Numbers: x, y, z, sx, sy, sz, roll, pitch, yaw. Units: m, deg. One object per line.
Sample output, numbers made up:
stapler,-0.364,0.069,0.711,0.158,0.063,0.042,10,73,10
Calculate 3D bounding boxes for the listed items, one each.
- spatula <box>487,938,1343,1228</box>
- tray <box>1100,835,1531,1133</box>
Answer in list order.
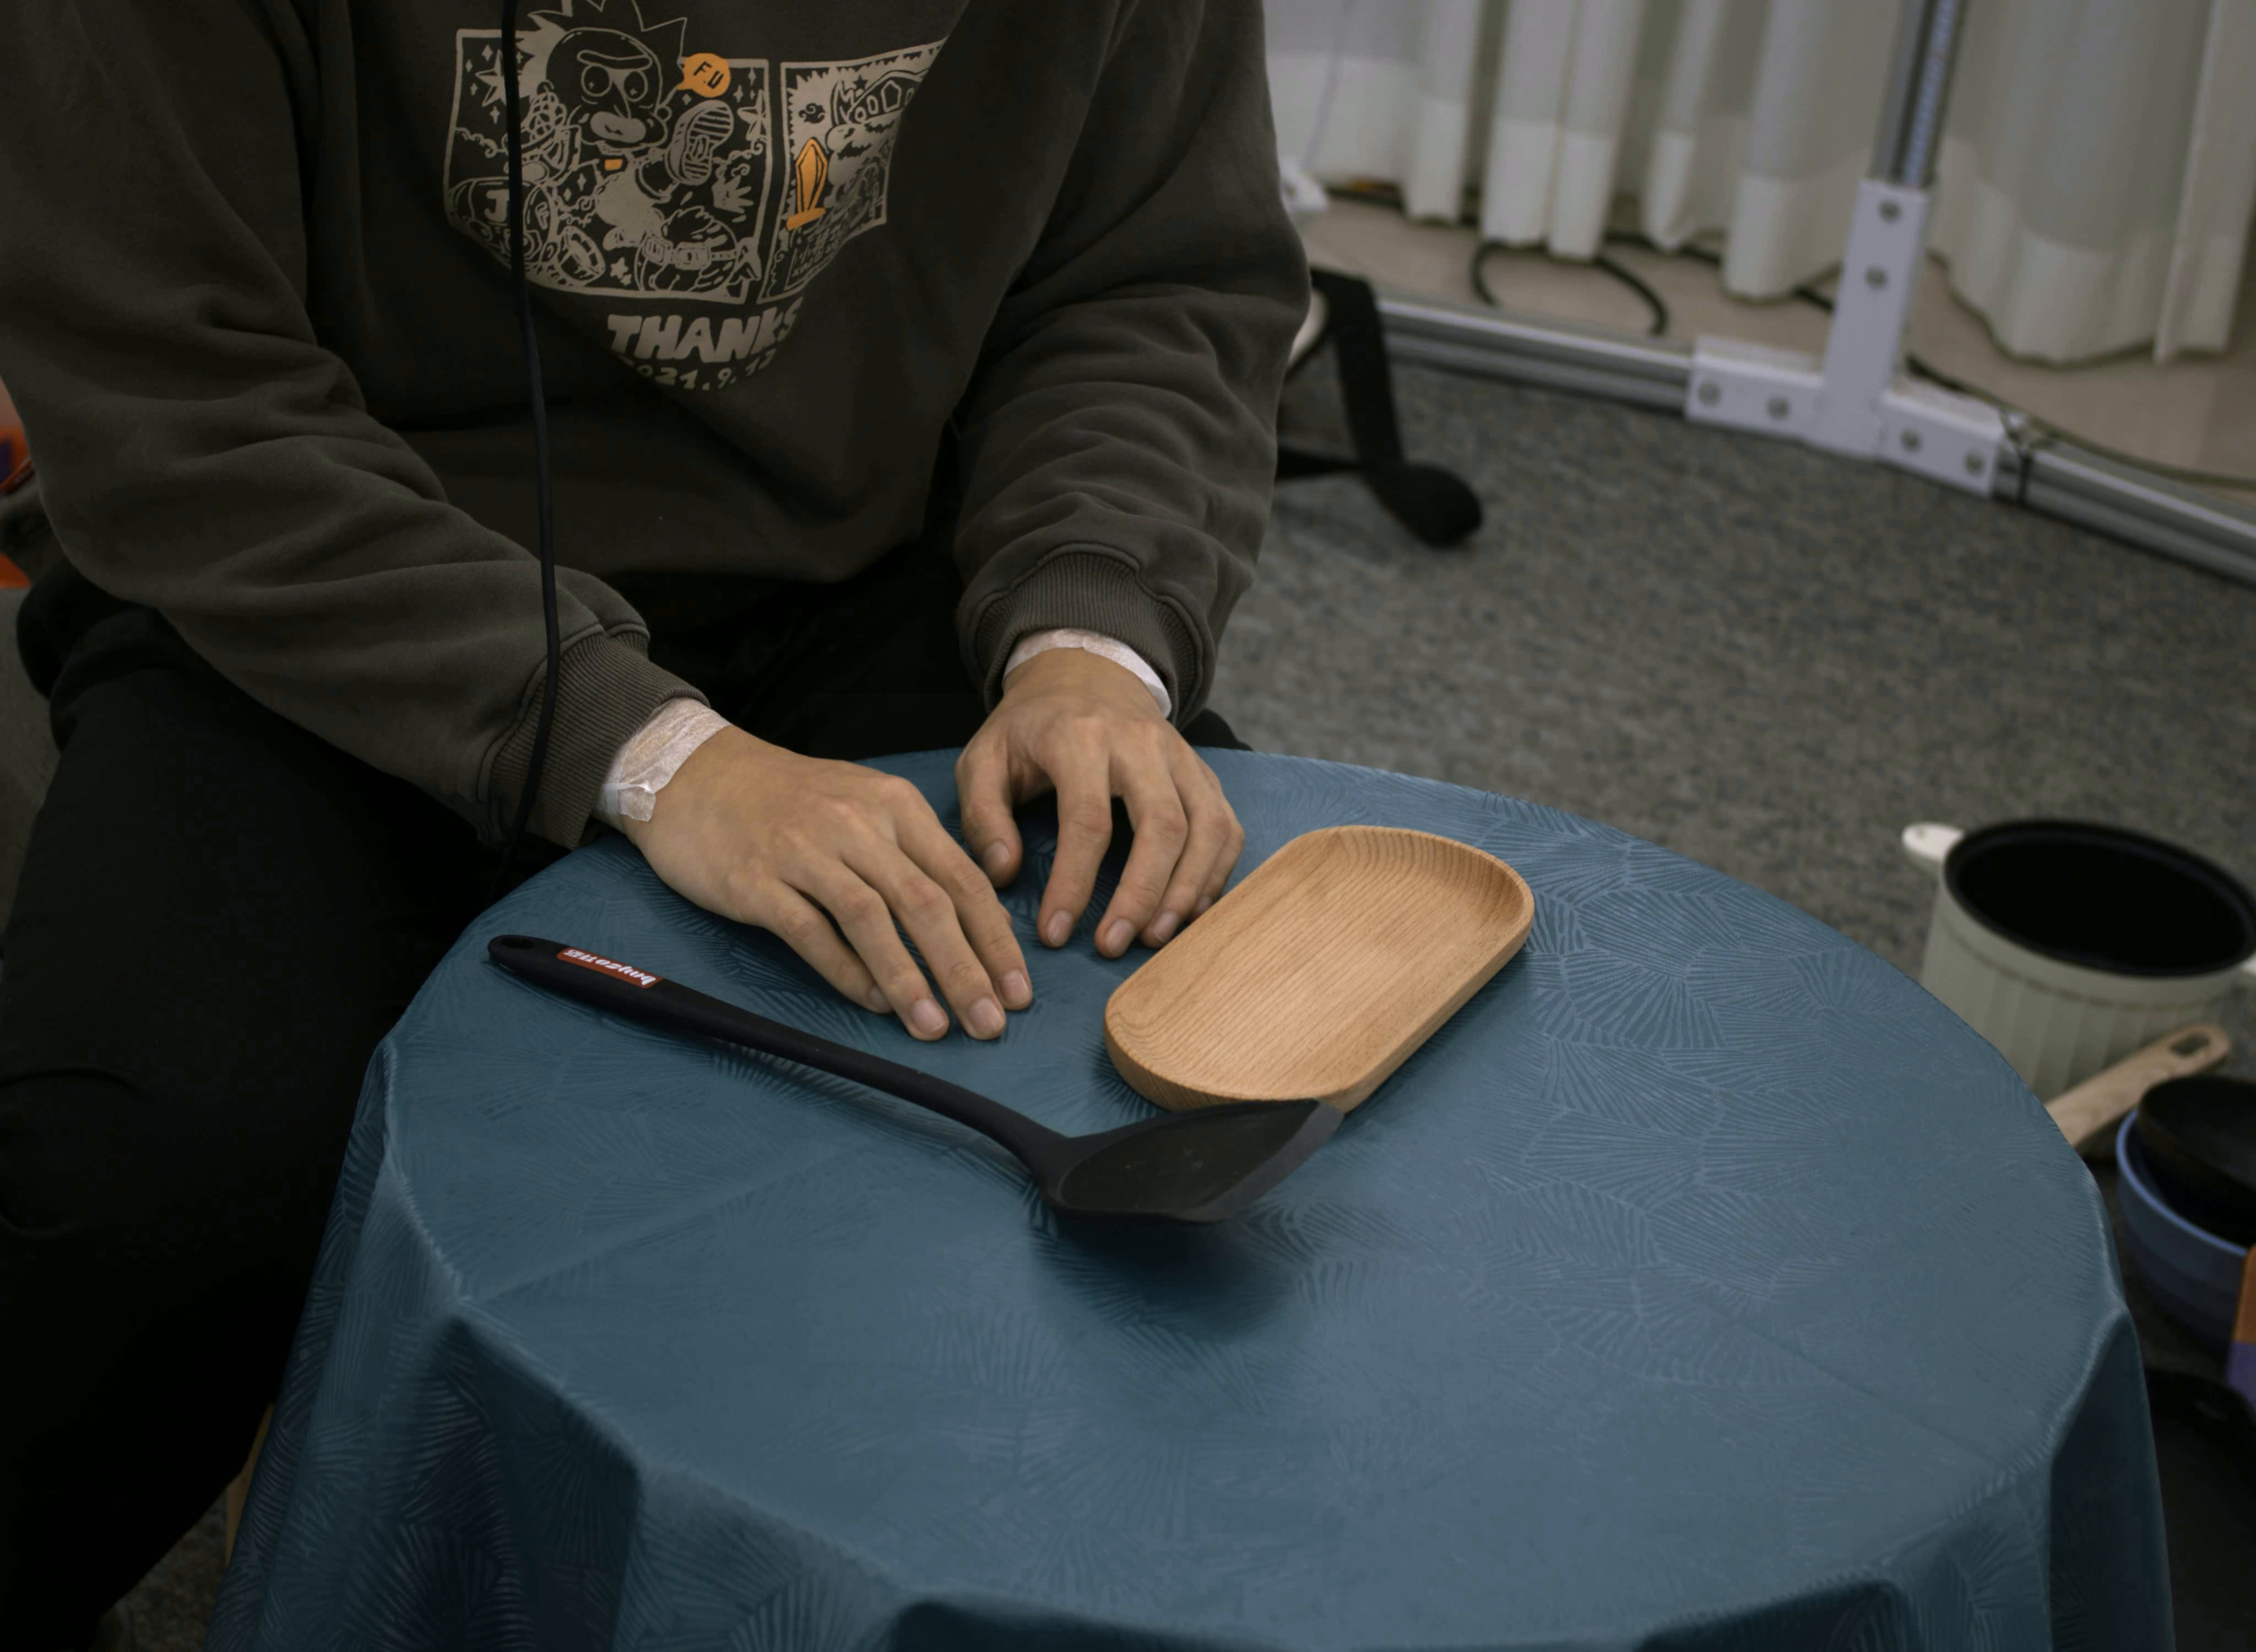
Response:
spatula,-0.086,0.080,1.830,0.327,0.040,0.099,20,28,24
tray,0.070,0.056,1.937,0.102,0.020,0.231,18,30,22
